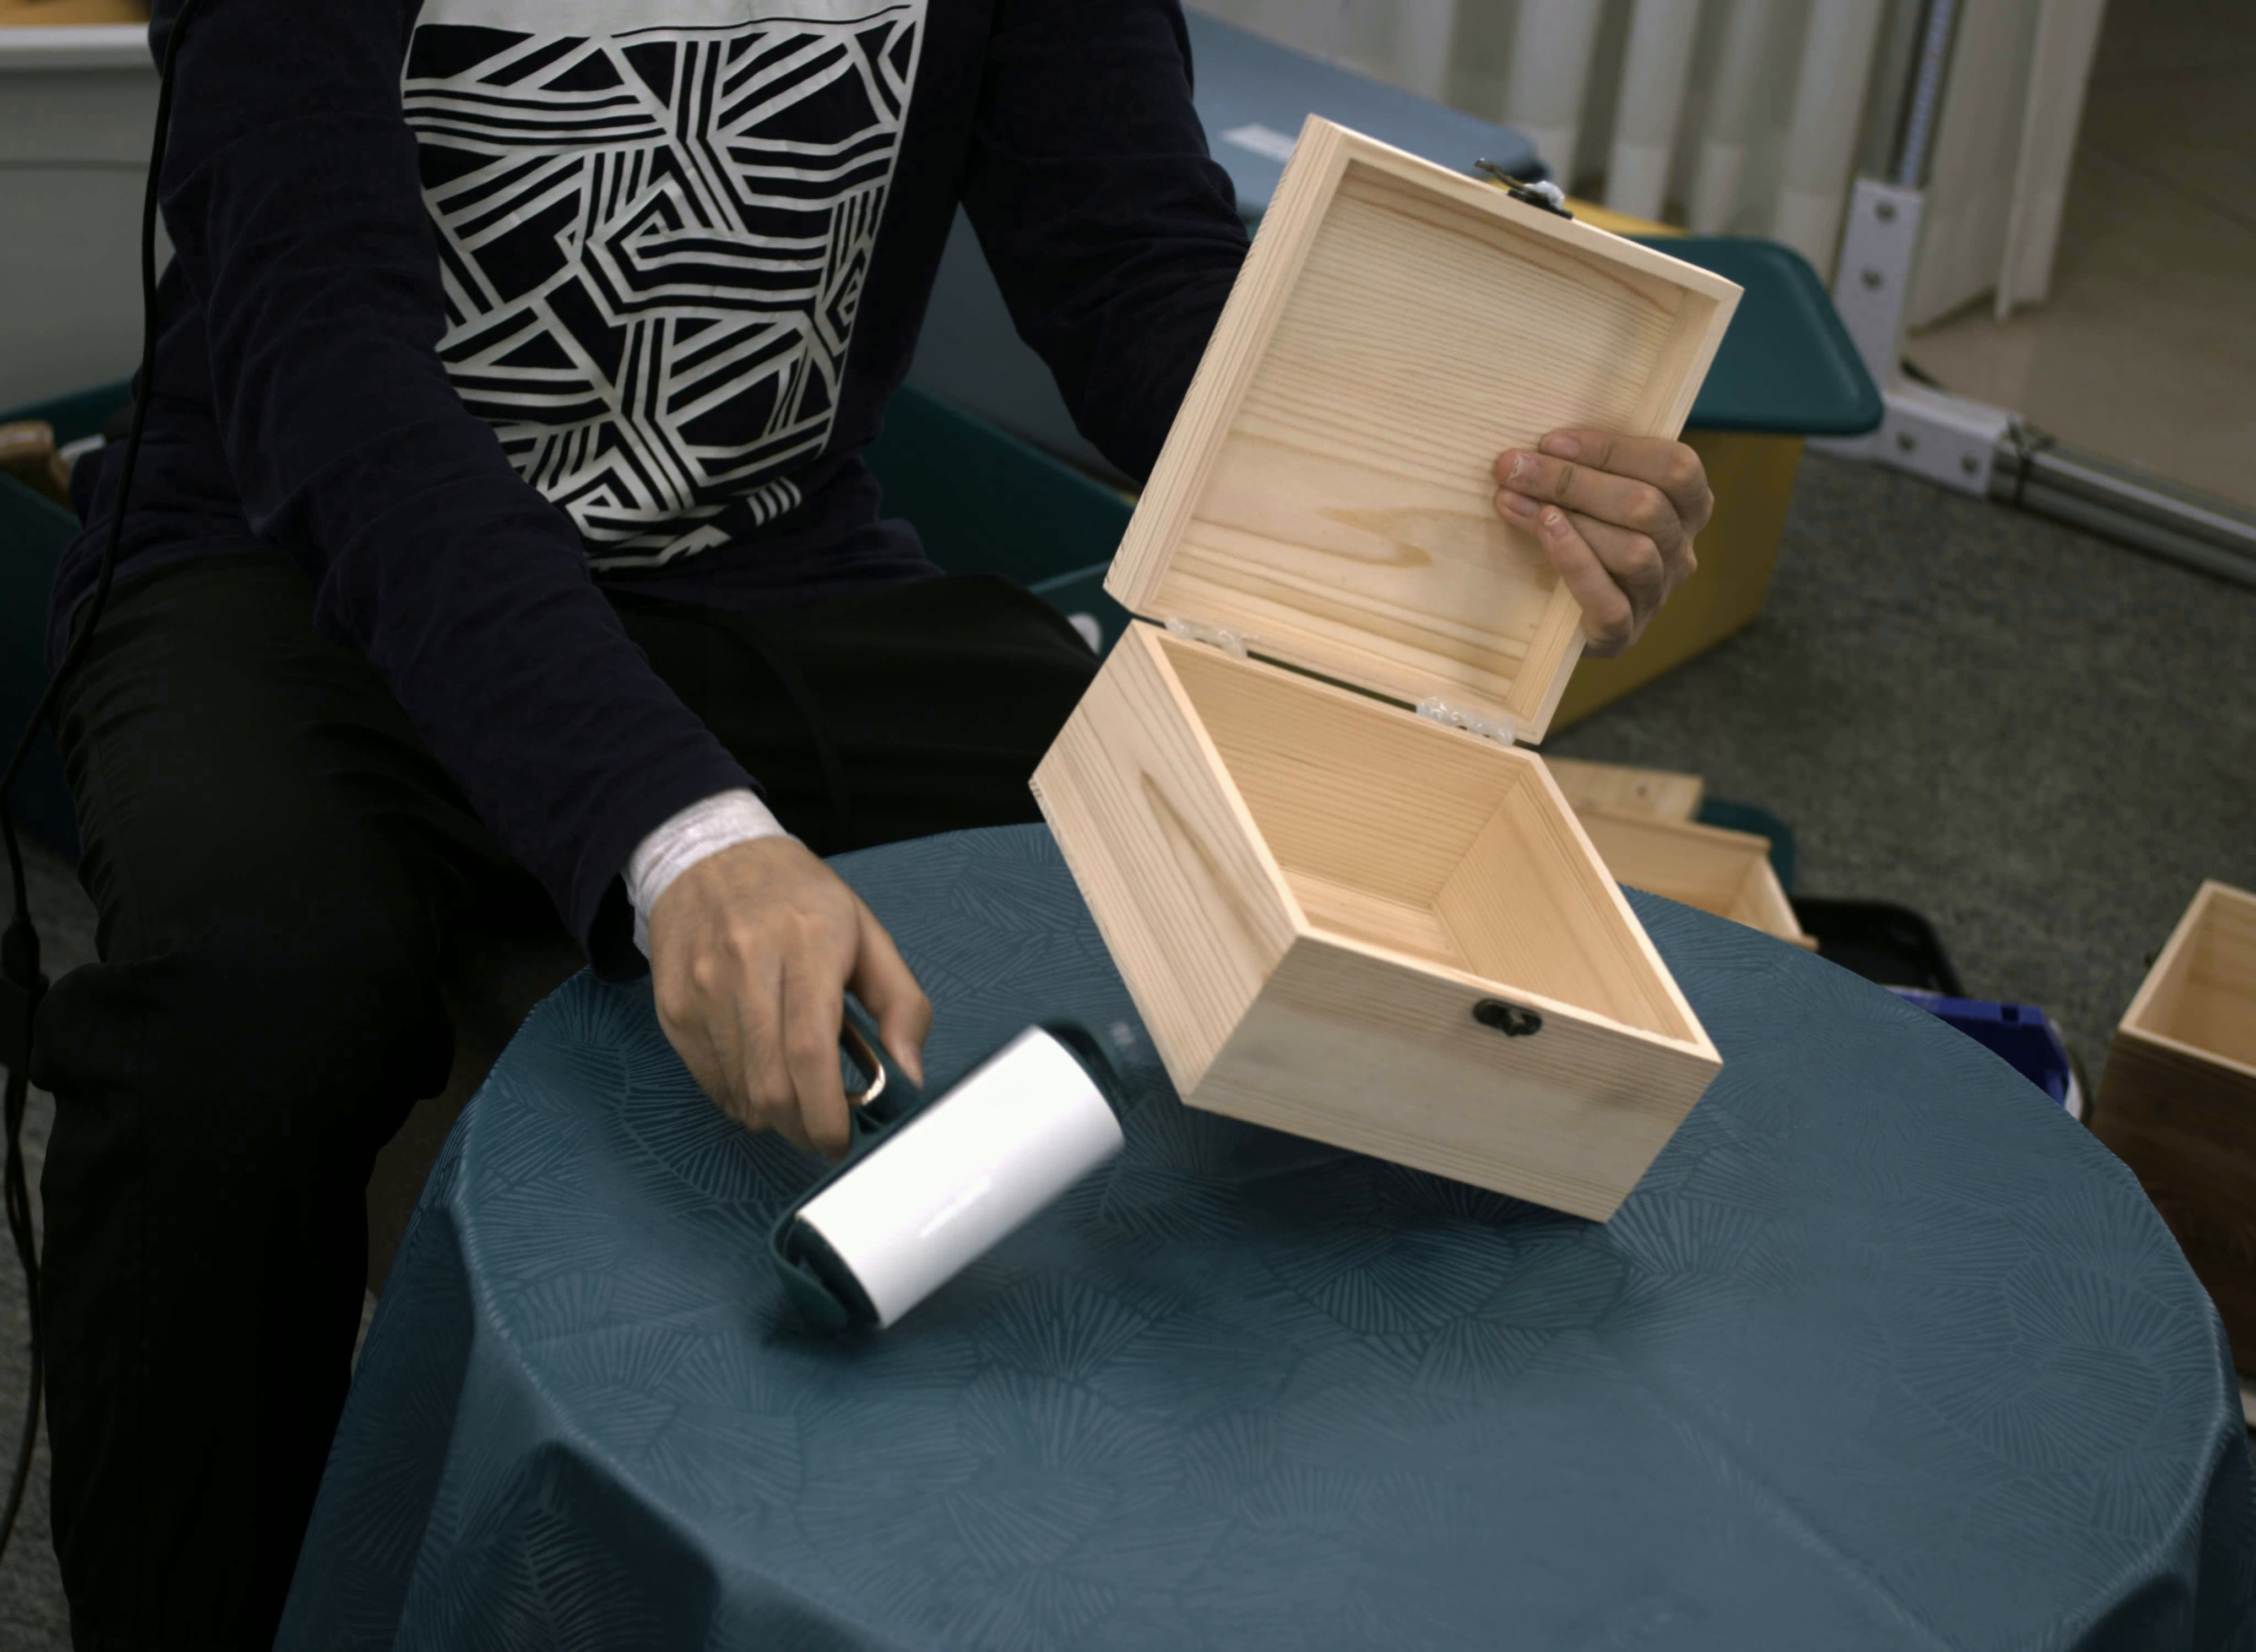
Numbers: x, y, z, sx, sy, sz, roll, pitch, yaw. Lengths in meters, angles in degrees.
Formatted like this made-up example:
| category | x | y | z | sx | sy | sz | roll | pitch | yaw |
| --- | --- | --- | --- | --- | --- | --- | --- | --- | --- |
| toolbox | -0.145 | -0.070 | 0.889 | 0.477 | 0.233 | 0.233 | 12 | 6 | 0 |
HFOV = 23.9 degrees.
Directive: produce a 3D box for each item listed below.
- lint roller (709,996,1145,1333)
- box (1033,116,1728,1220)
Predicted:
| category | x | y | z | sx | sy | sz | roll | pitch | yaw |
| --- | --- | --- | --- | --- | --- | --- | --- | --- | --- |
| lint roller | -0.091 | 0.087 | 1.760 | 0.134 | 0.048 | 0.182 | -34 | 43 | -18 |
| box | 0.115 | -0.054 | 1.818 | 0.180 | 0.253 | 0.268 | 15 | 29 | -31 |
